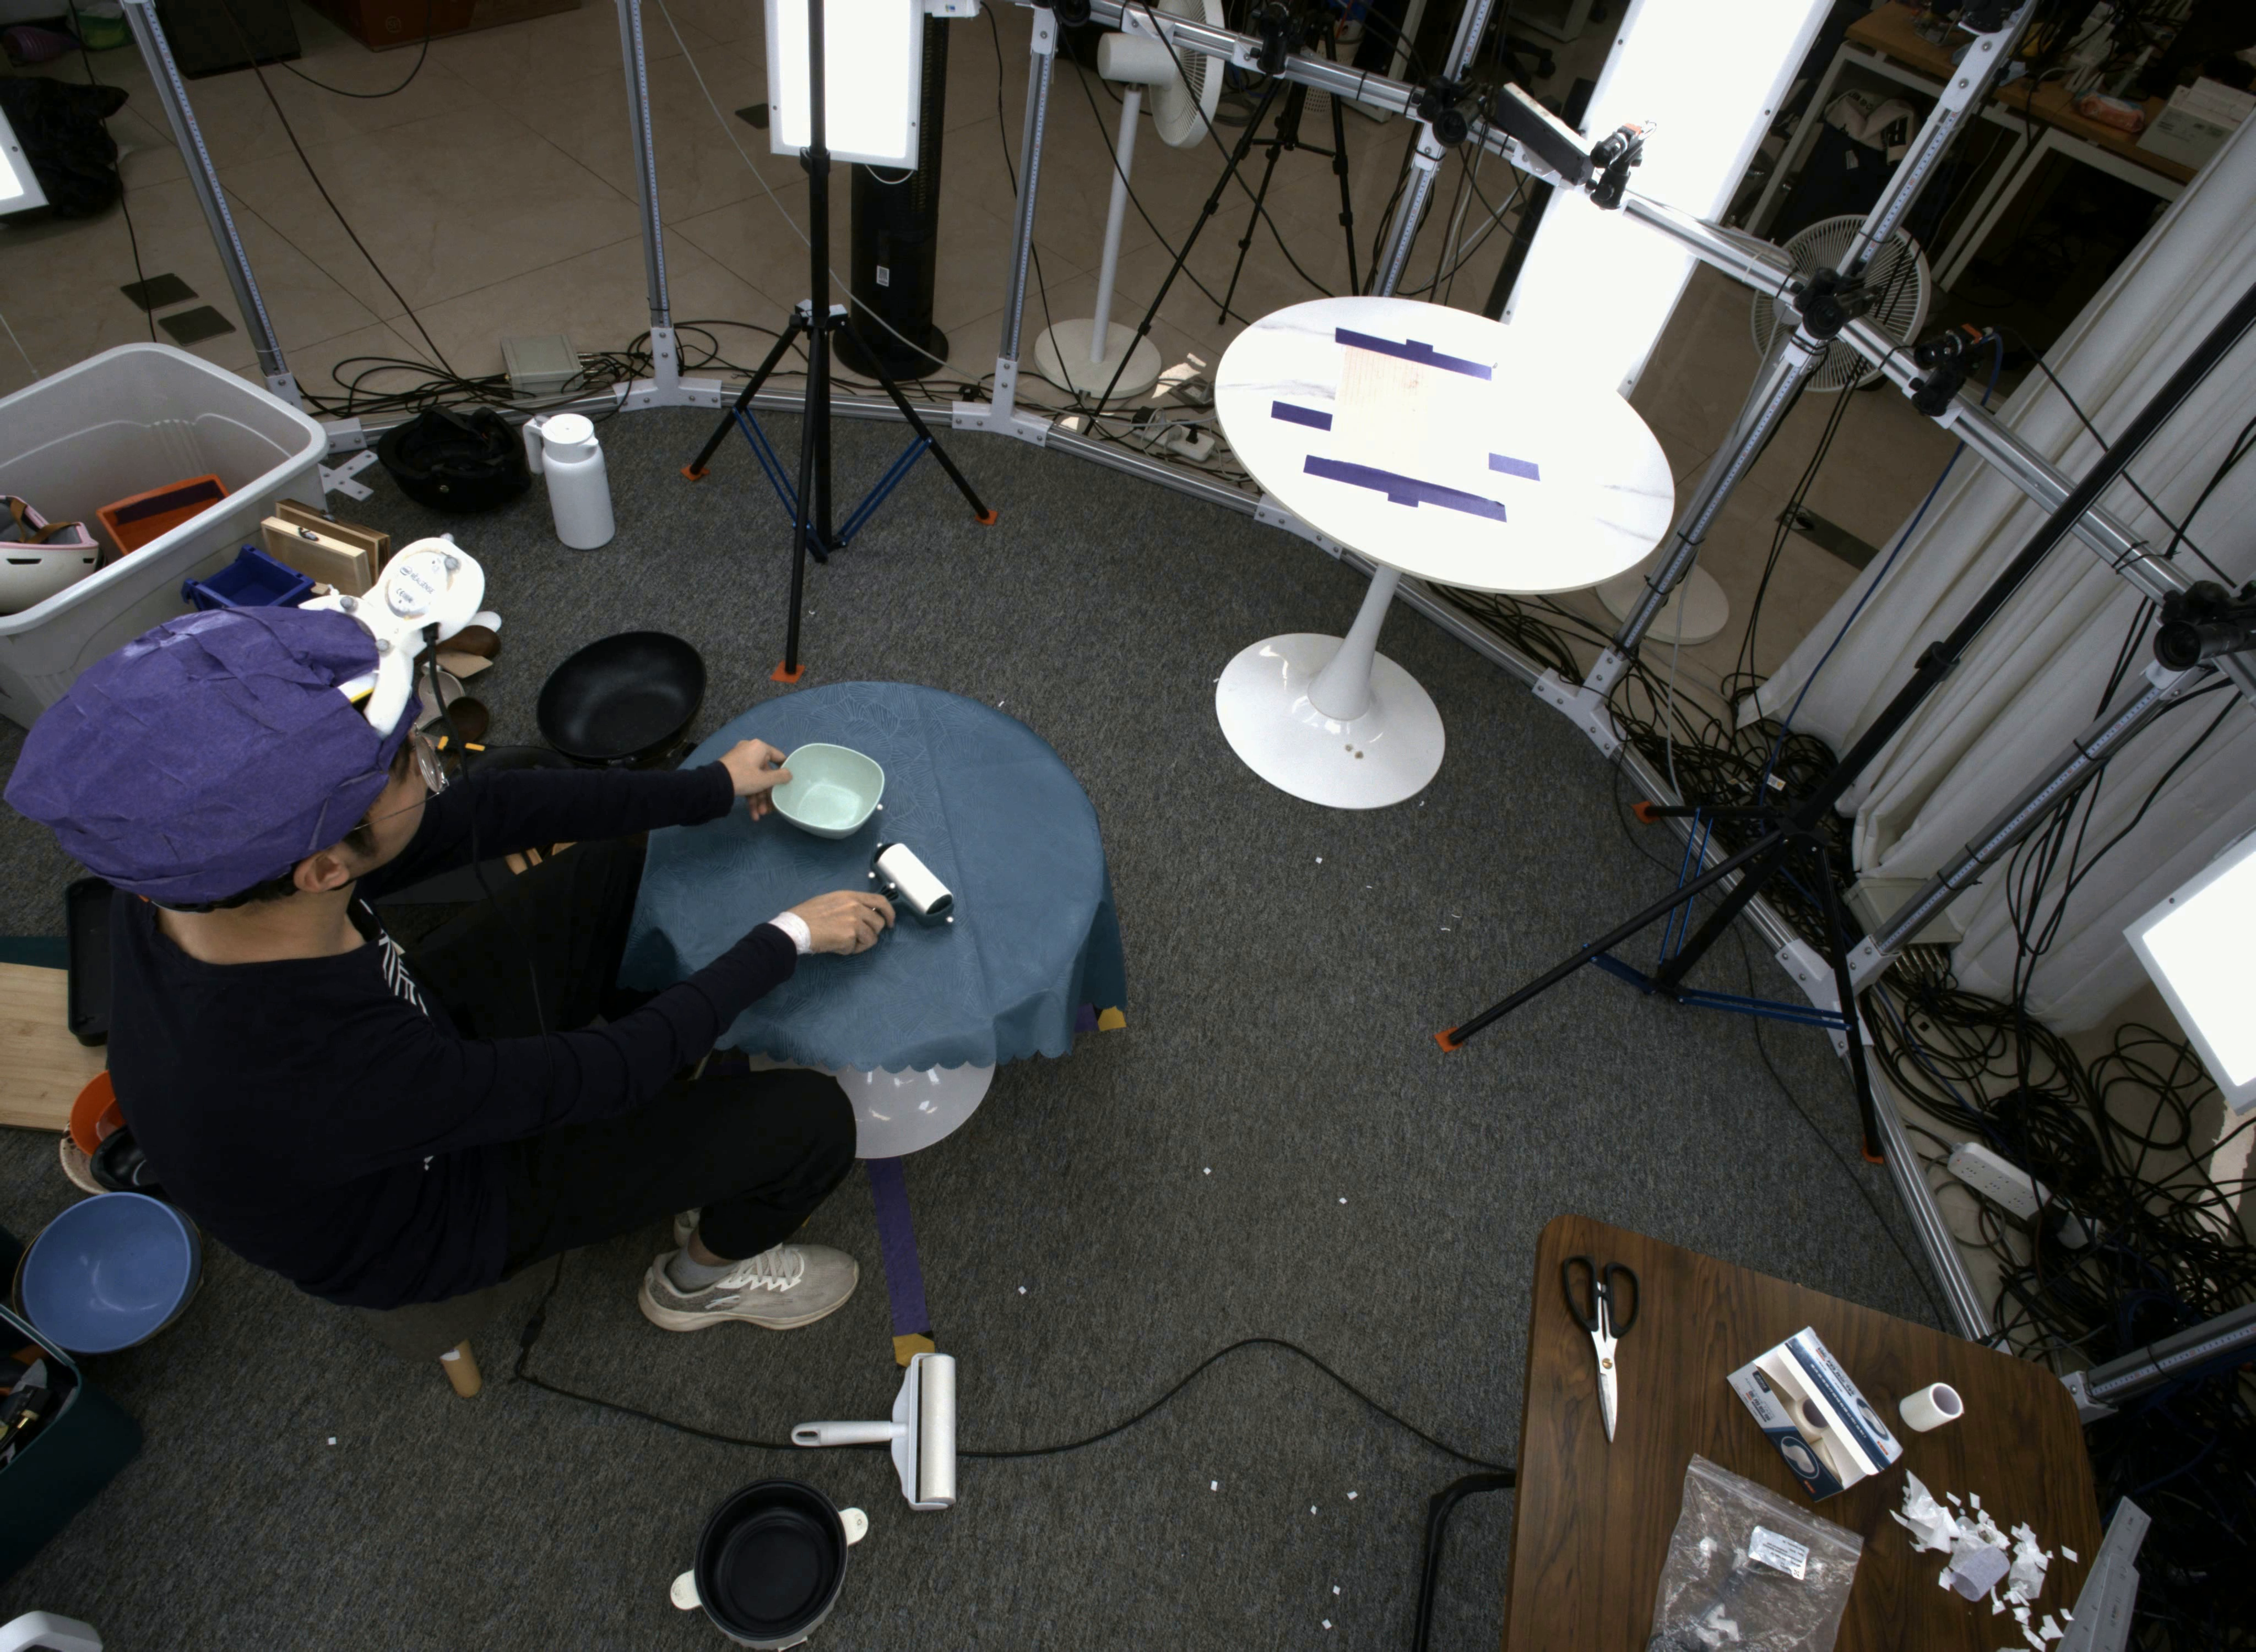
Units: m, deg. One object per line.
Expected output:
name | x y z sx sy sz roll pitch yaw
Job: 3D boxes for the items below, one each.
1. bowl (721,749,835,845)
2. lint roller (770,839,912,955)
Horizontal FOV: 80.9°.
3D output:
bowl | -0.462 -0.029 1.710 0.151 0.060 0.148 9 50 -9
lint roller | -0.373 0.100 1.629 0.131 0.049 0.181 41 46 17
